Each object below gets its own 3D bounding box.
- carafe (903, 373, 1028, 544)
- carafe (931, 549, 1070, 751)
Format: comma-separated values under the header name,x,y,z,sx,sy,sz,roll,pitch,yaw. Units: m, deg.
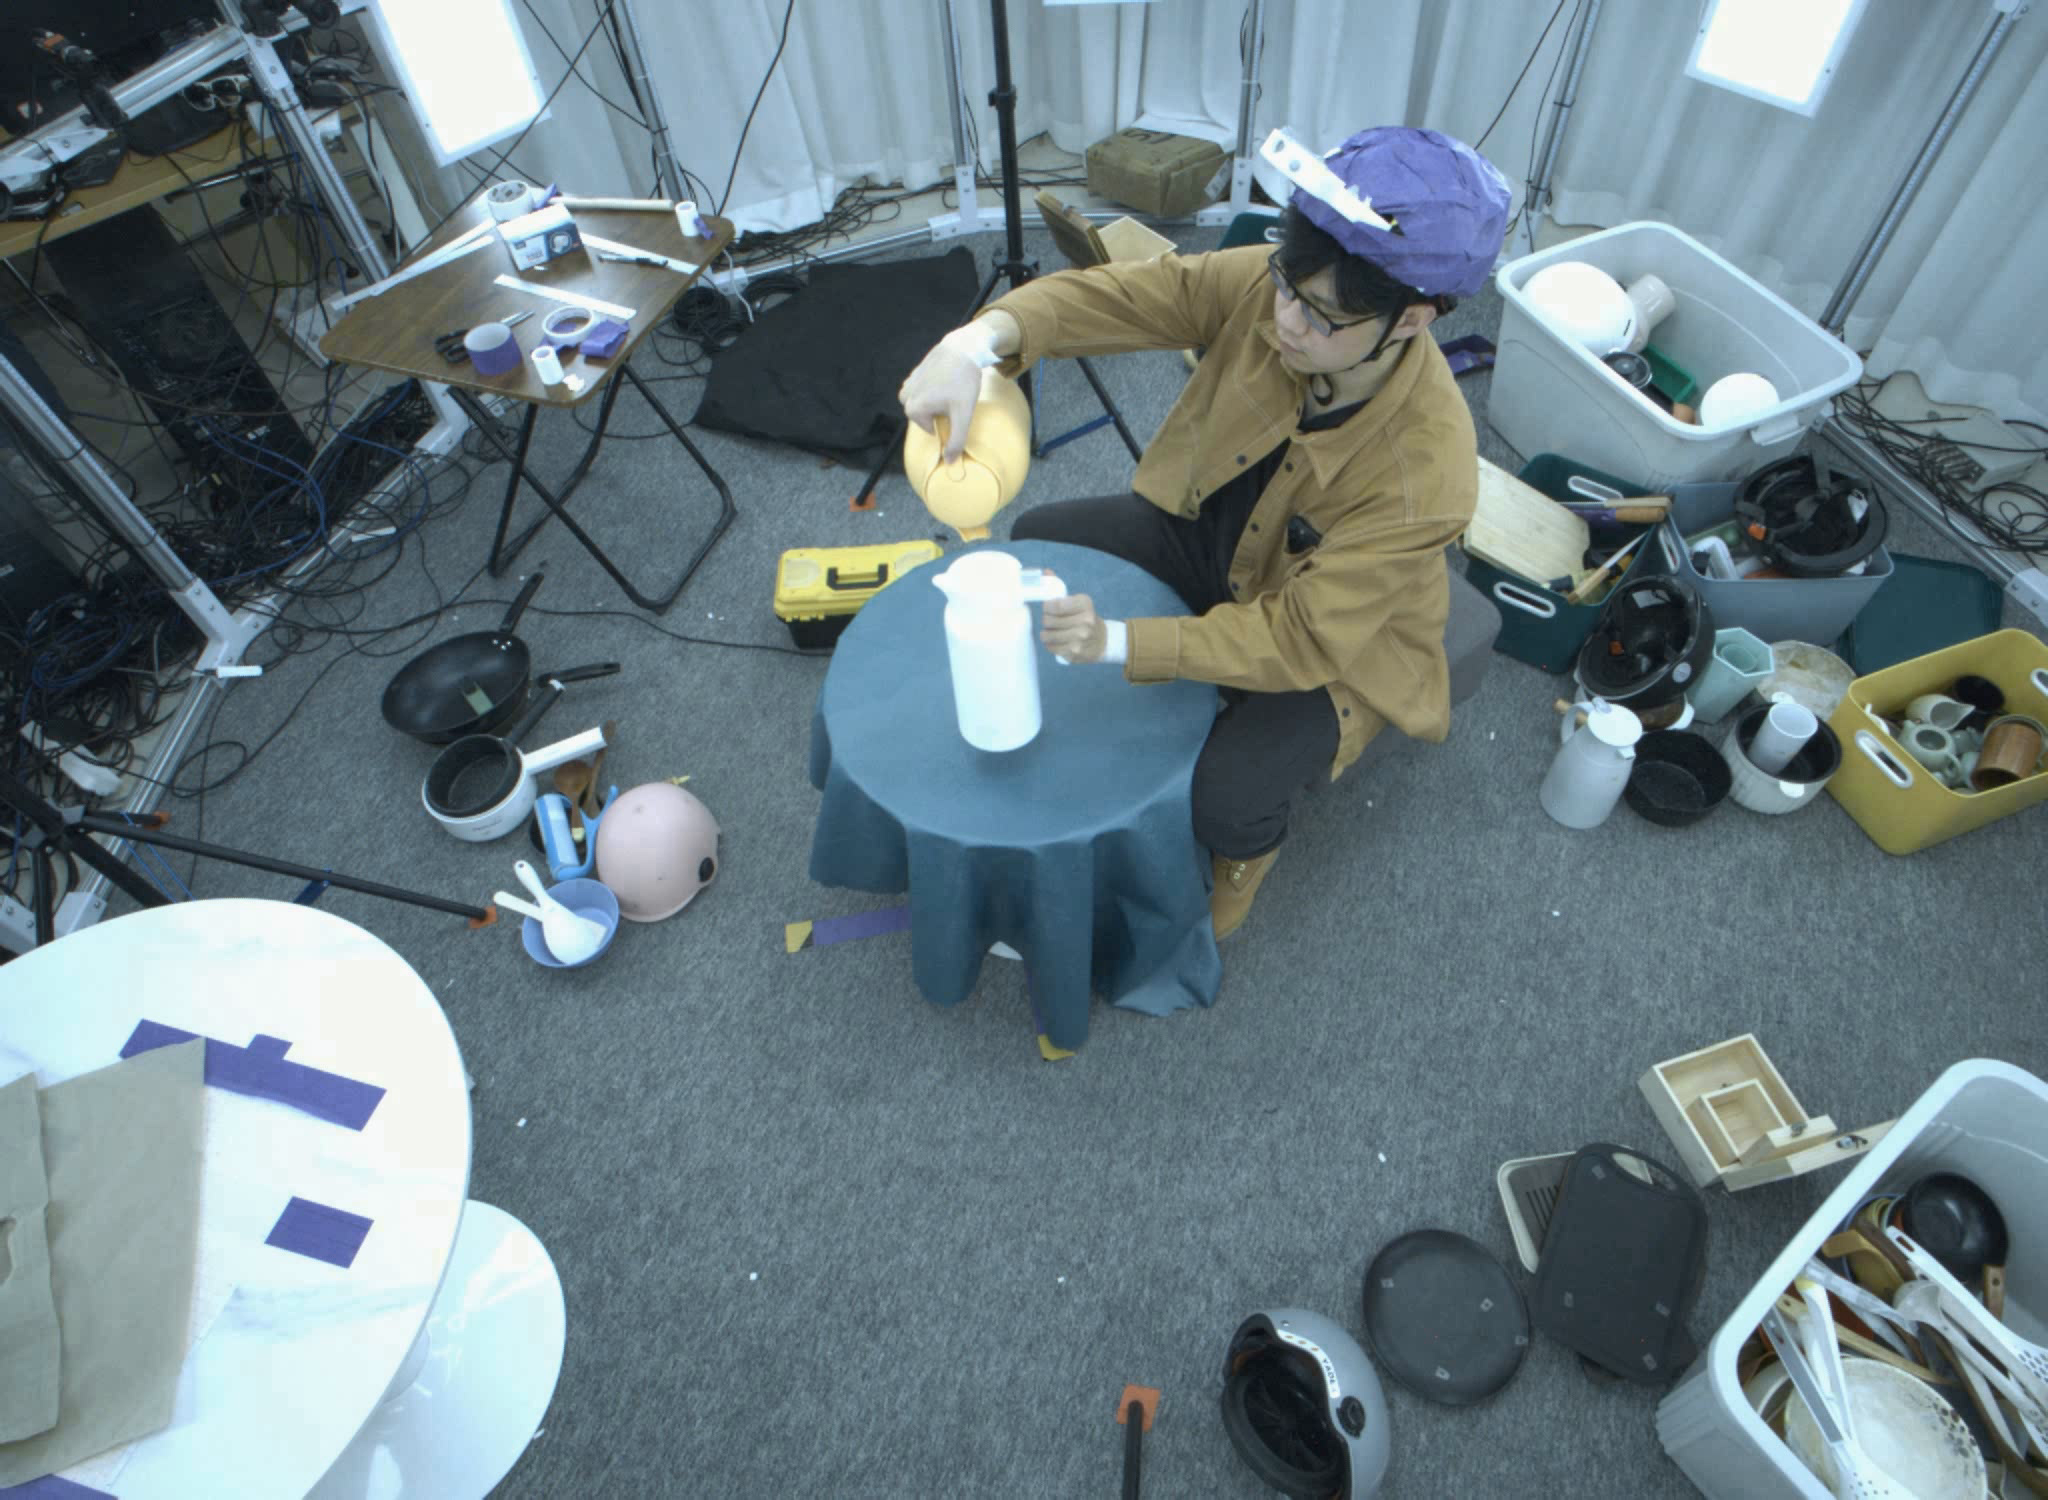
name,x,y,z,sx,sy,sz,roll,pitch,yaw
carafe,-0.078,-0.395,1.540,0.163,0.205,0.257,-9,40,2
carafe,-0.025,-0.131,1.637,0.172,0.272,0.122,-1,42,3
